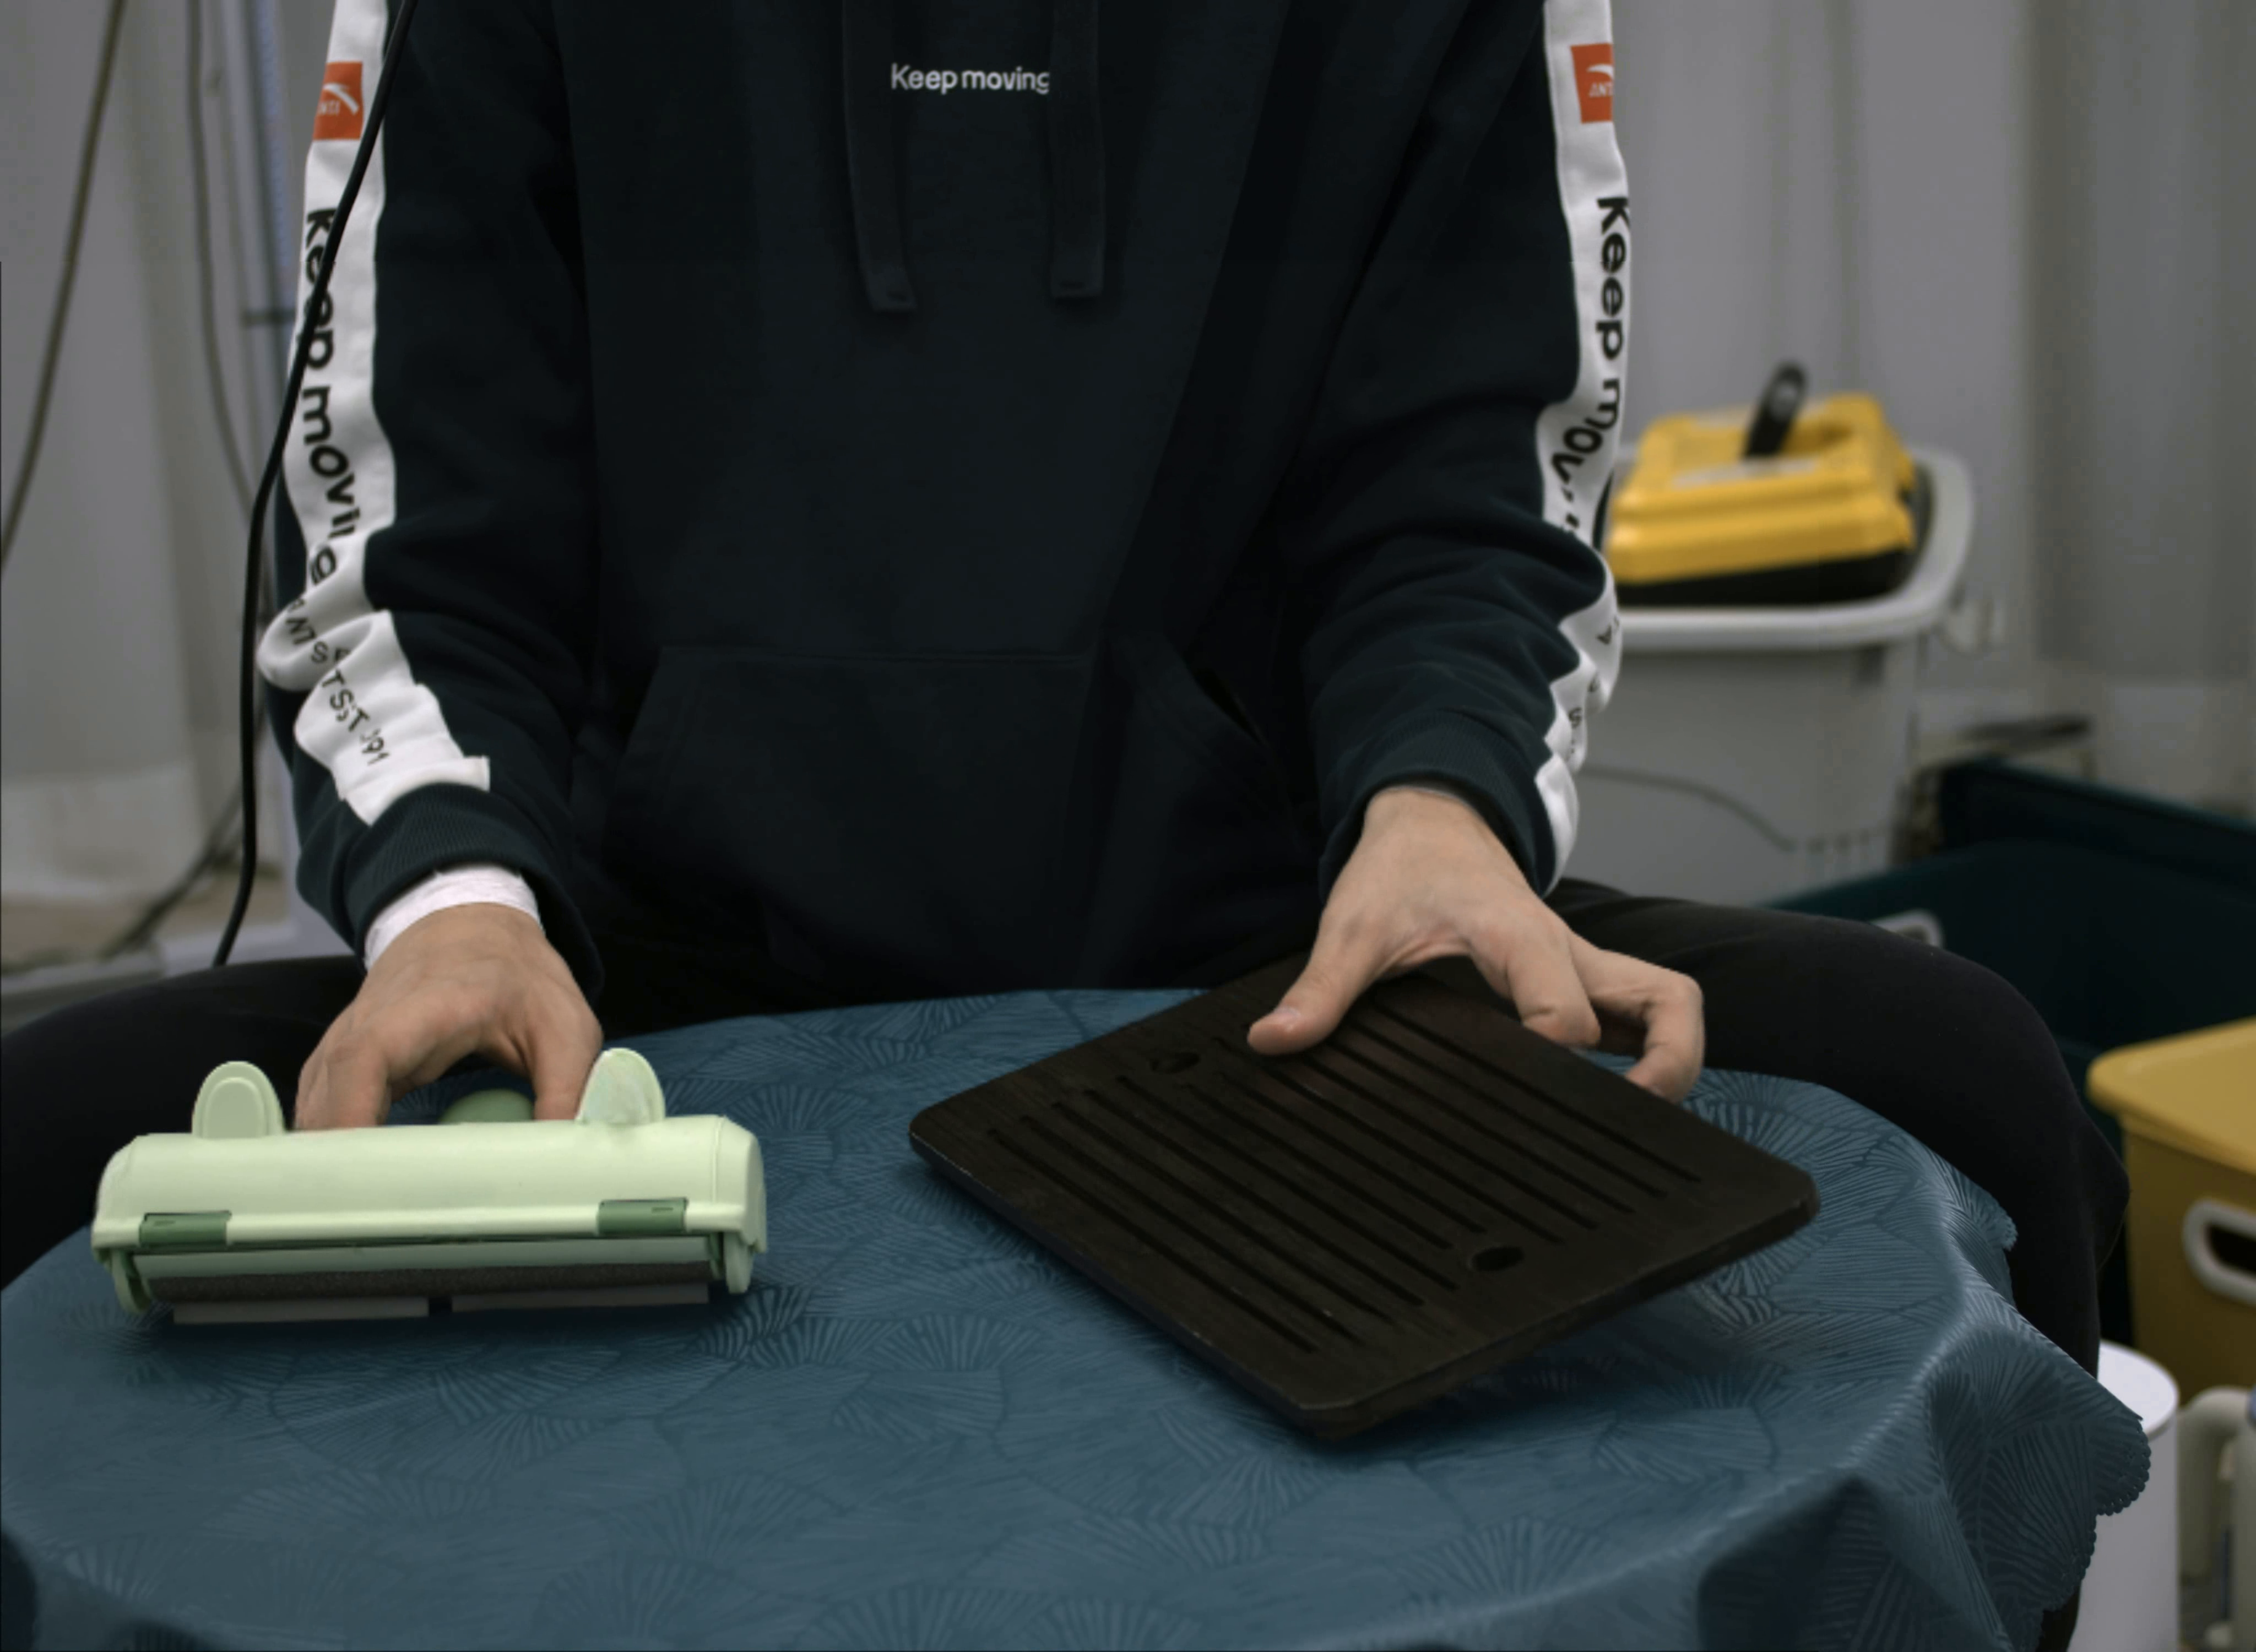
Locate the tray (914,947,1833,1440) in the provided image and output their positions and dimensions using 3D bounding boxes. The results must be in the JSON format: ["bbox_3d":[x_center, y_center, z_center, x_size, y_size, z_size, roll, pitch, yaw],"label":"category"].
[{"bbox_3d":[0.066,0.106,1.643,0.170,0.018,0.308,-21,20,-19],"label":"tray"}]

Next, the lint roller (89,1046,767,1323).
[{"bbox_3d":[-0.205,0.093,1.683,0.198,0.082,0.185,-2,18,4],"label":"lint roller"}]
